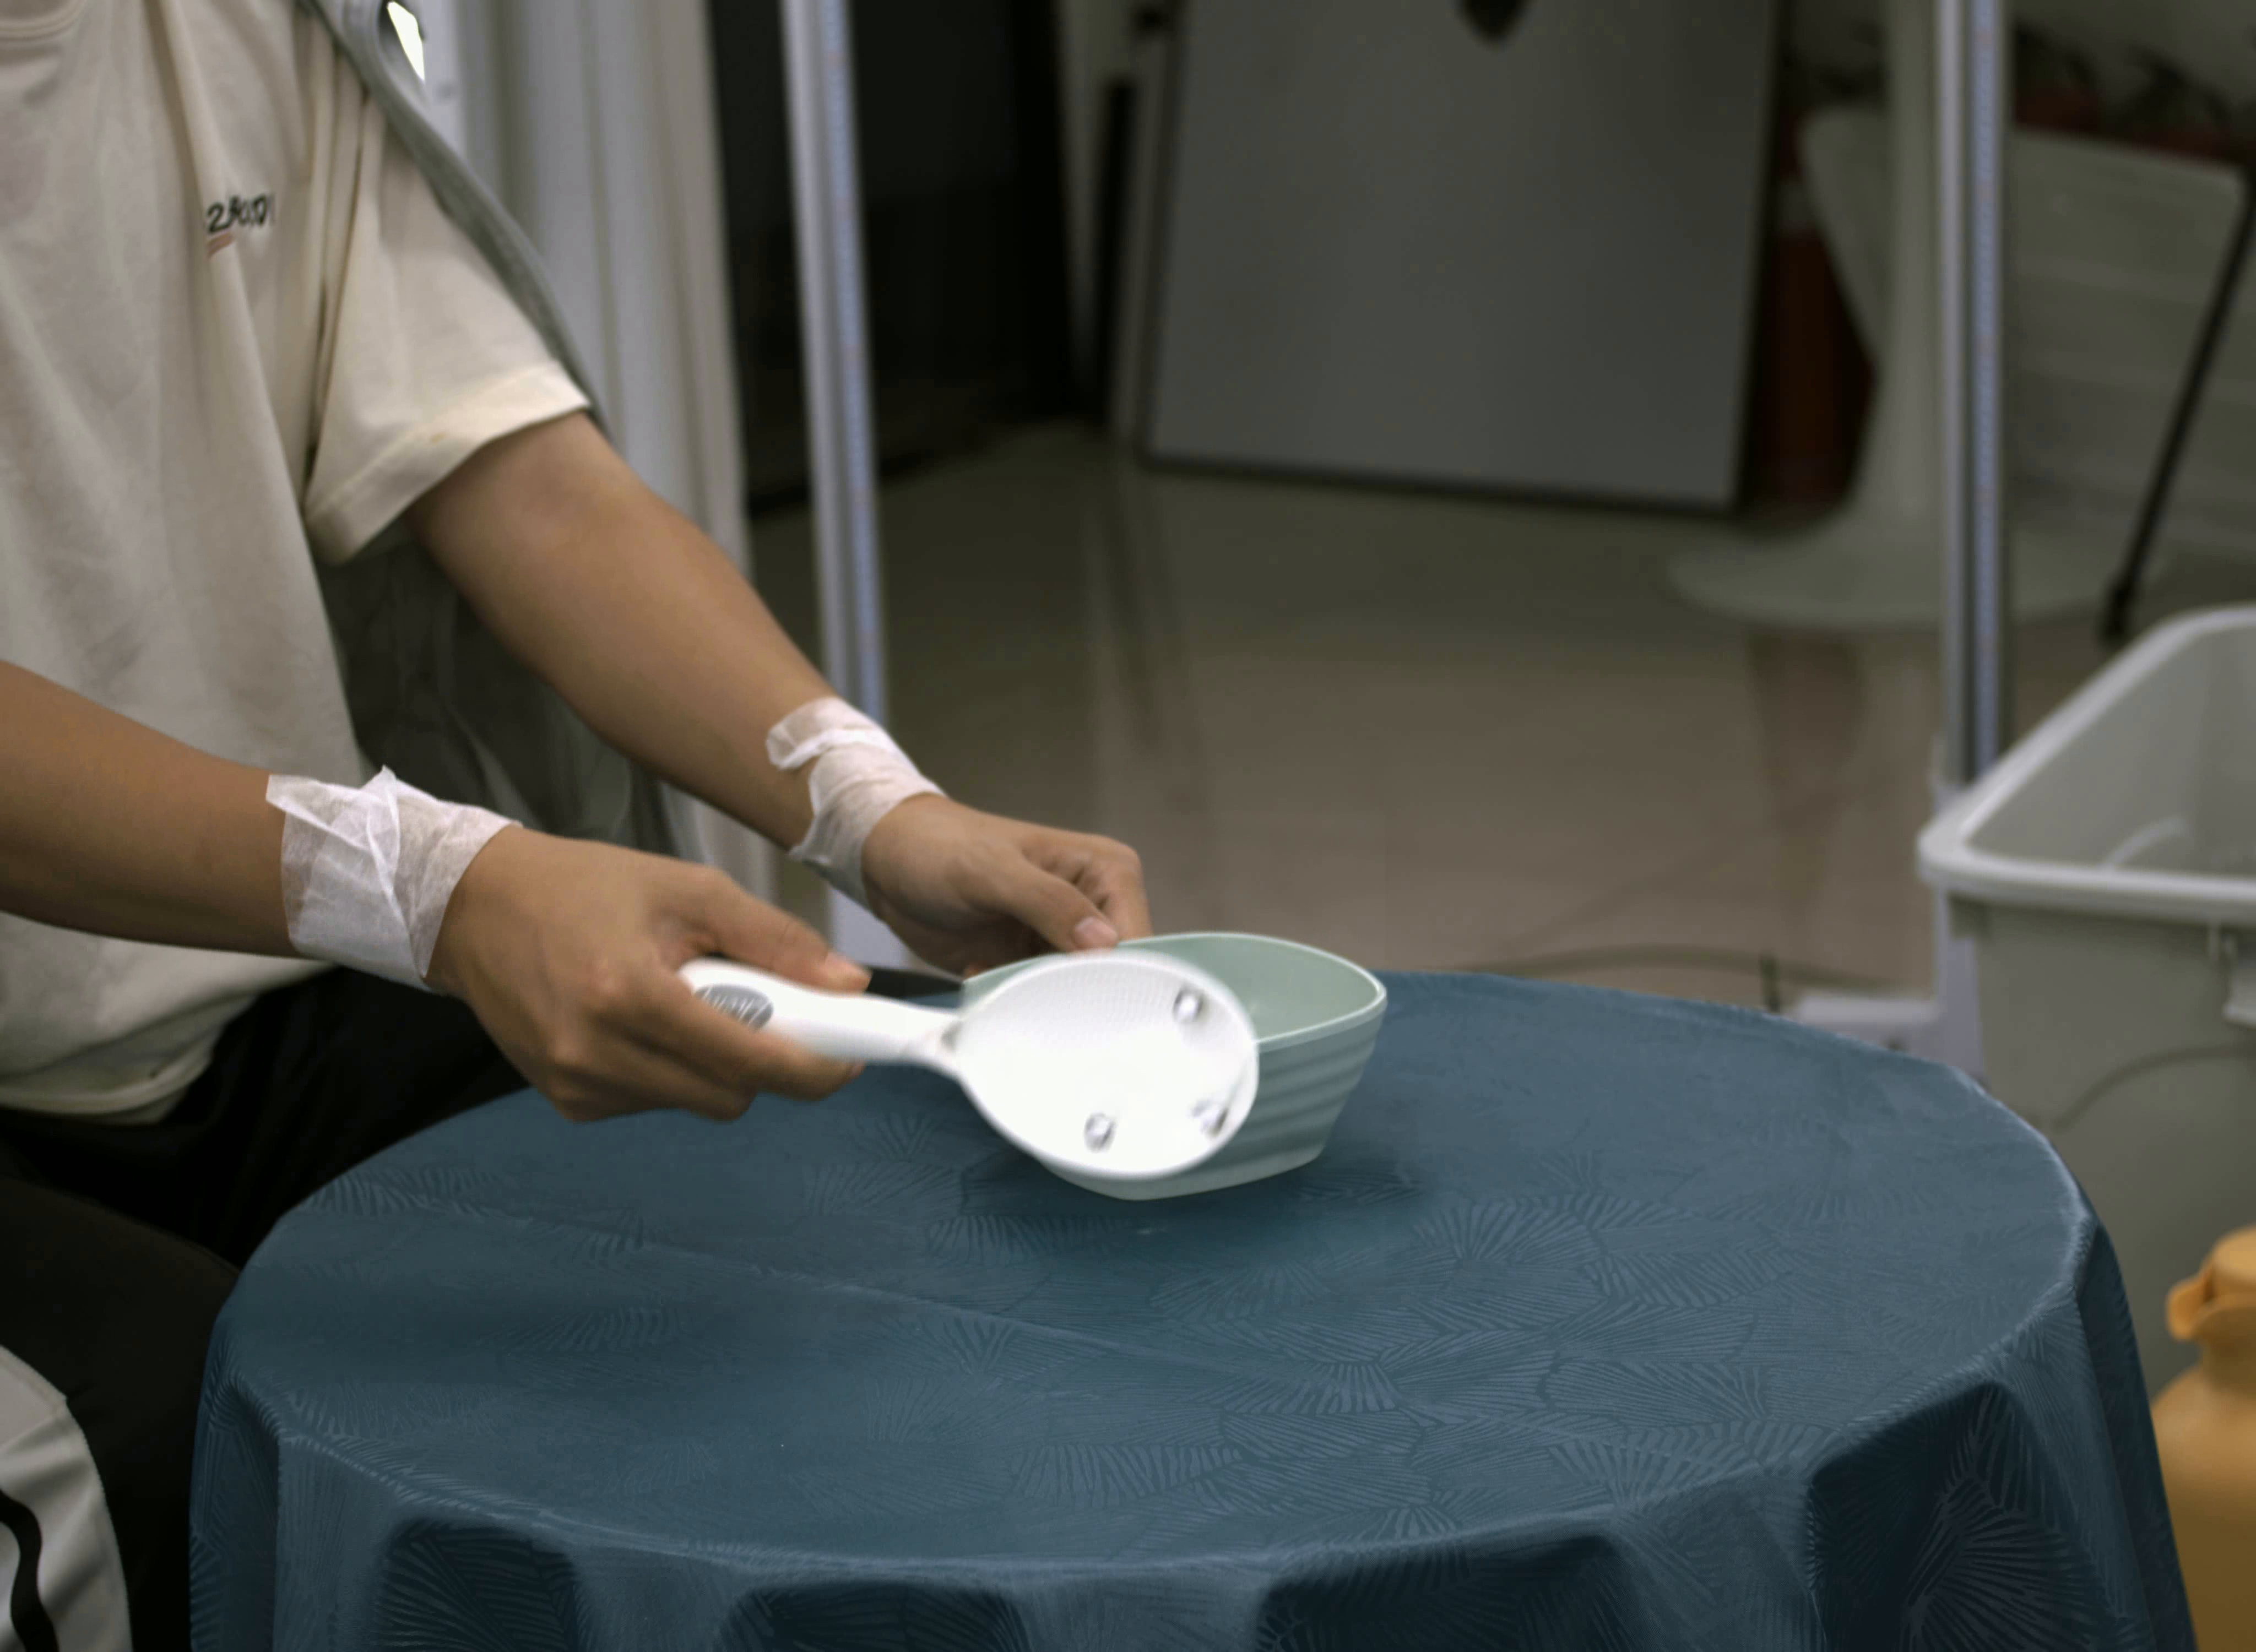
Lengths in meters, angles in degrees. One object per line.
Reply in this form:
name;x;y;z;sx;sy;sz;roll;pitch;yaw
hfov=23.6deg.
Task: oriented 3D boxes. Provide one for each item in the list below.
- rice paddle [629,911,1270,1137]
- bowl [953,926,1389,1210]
rice paddle;-0.055;0.056;1.670;0.204;0.069;0.029;4;-8;17
bowl;0.014;0.084;1.801;0.149;0.059;0.152;-3;16;0
